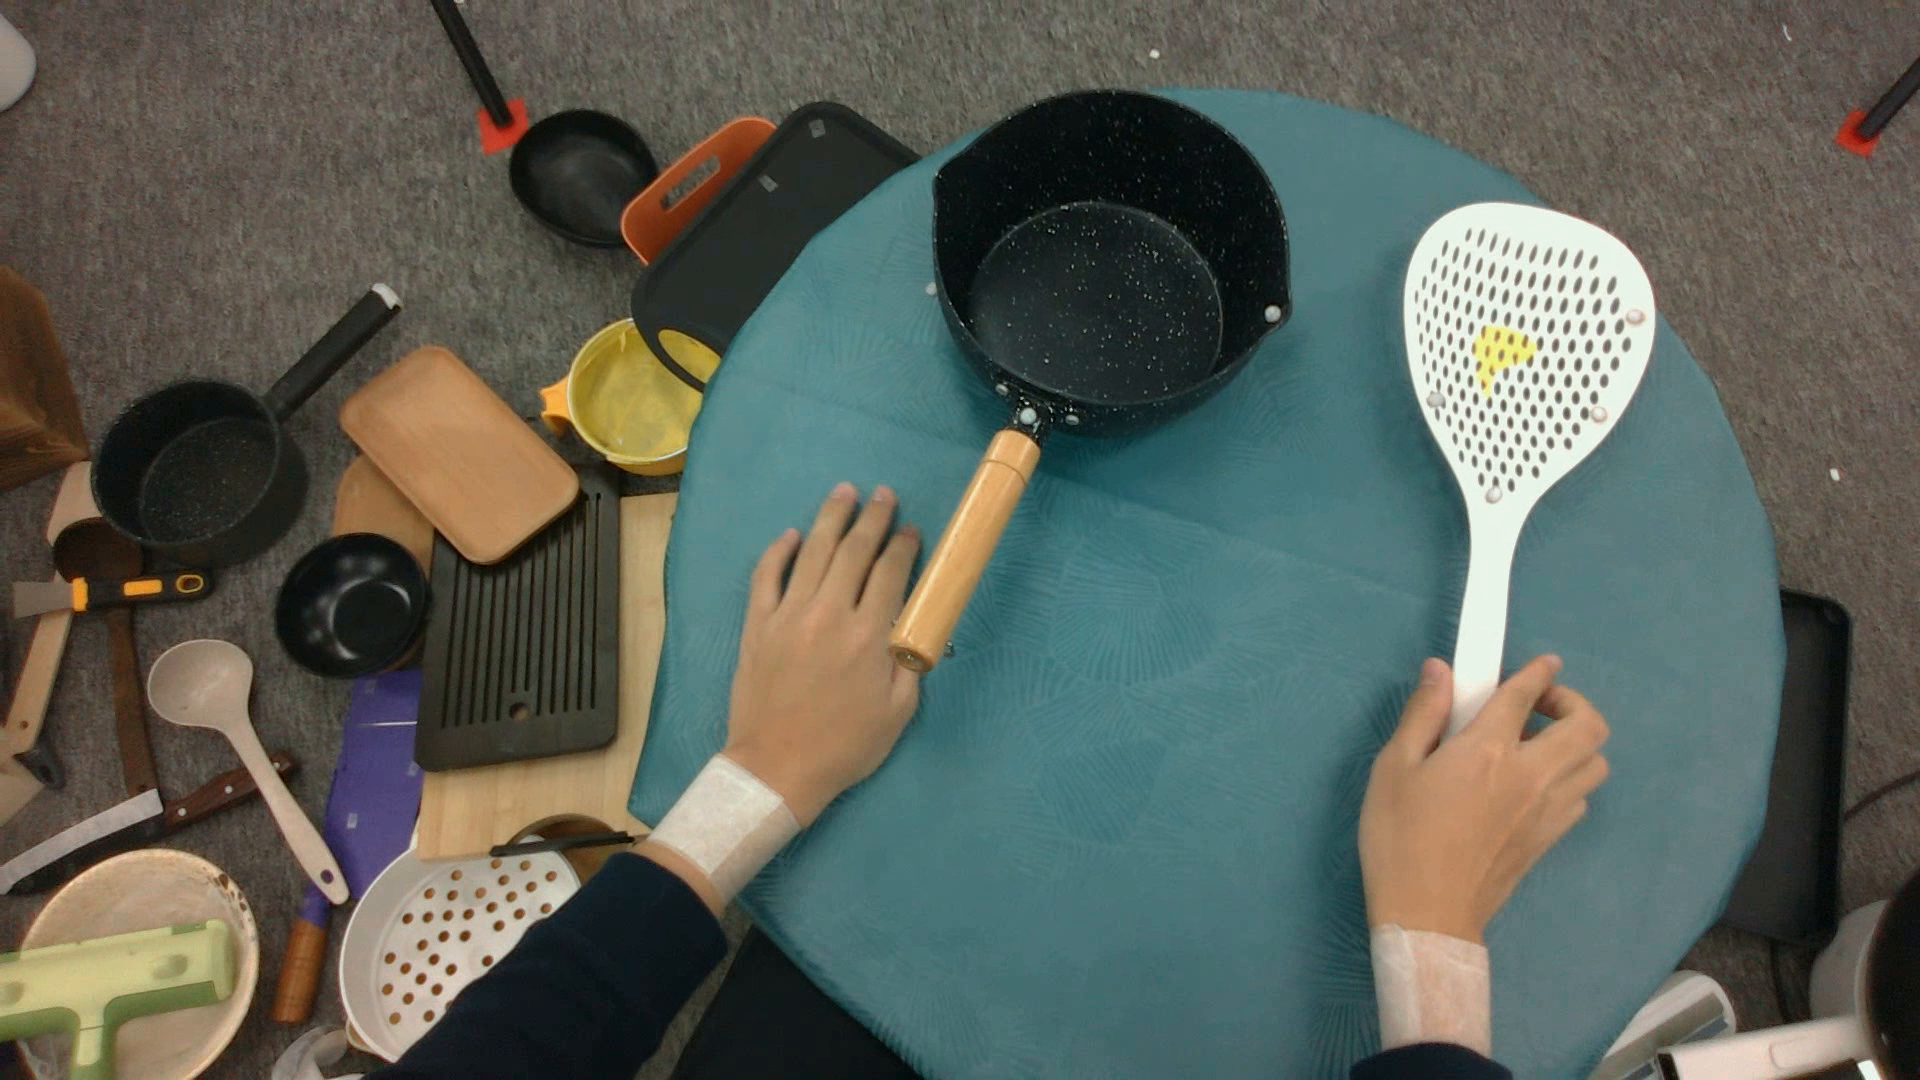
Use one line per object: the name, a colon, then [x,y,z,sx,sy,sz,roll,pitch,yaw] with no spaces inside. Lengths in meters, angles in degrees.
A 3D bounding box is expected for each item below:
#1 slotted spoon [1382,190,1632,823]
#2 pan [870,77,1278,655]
slotted spoon: [0.277,-0.026,0.735,0.137,0.050,0.349,12,70,2]
pan: [0.039,-0.083,0.717,0.207,0.108,0.344,22,71,6]
